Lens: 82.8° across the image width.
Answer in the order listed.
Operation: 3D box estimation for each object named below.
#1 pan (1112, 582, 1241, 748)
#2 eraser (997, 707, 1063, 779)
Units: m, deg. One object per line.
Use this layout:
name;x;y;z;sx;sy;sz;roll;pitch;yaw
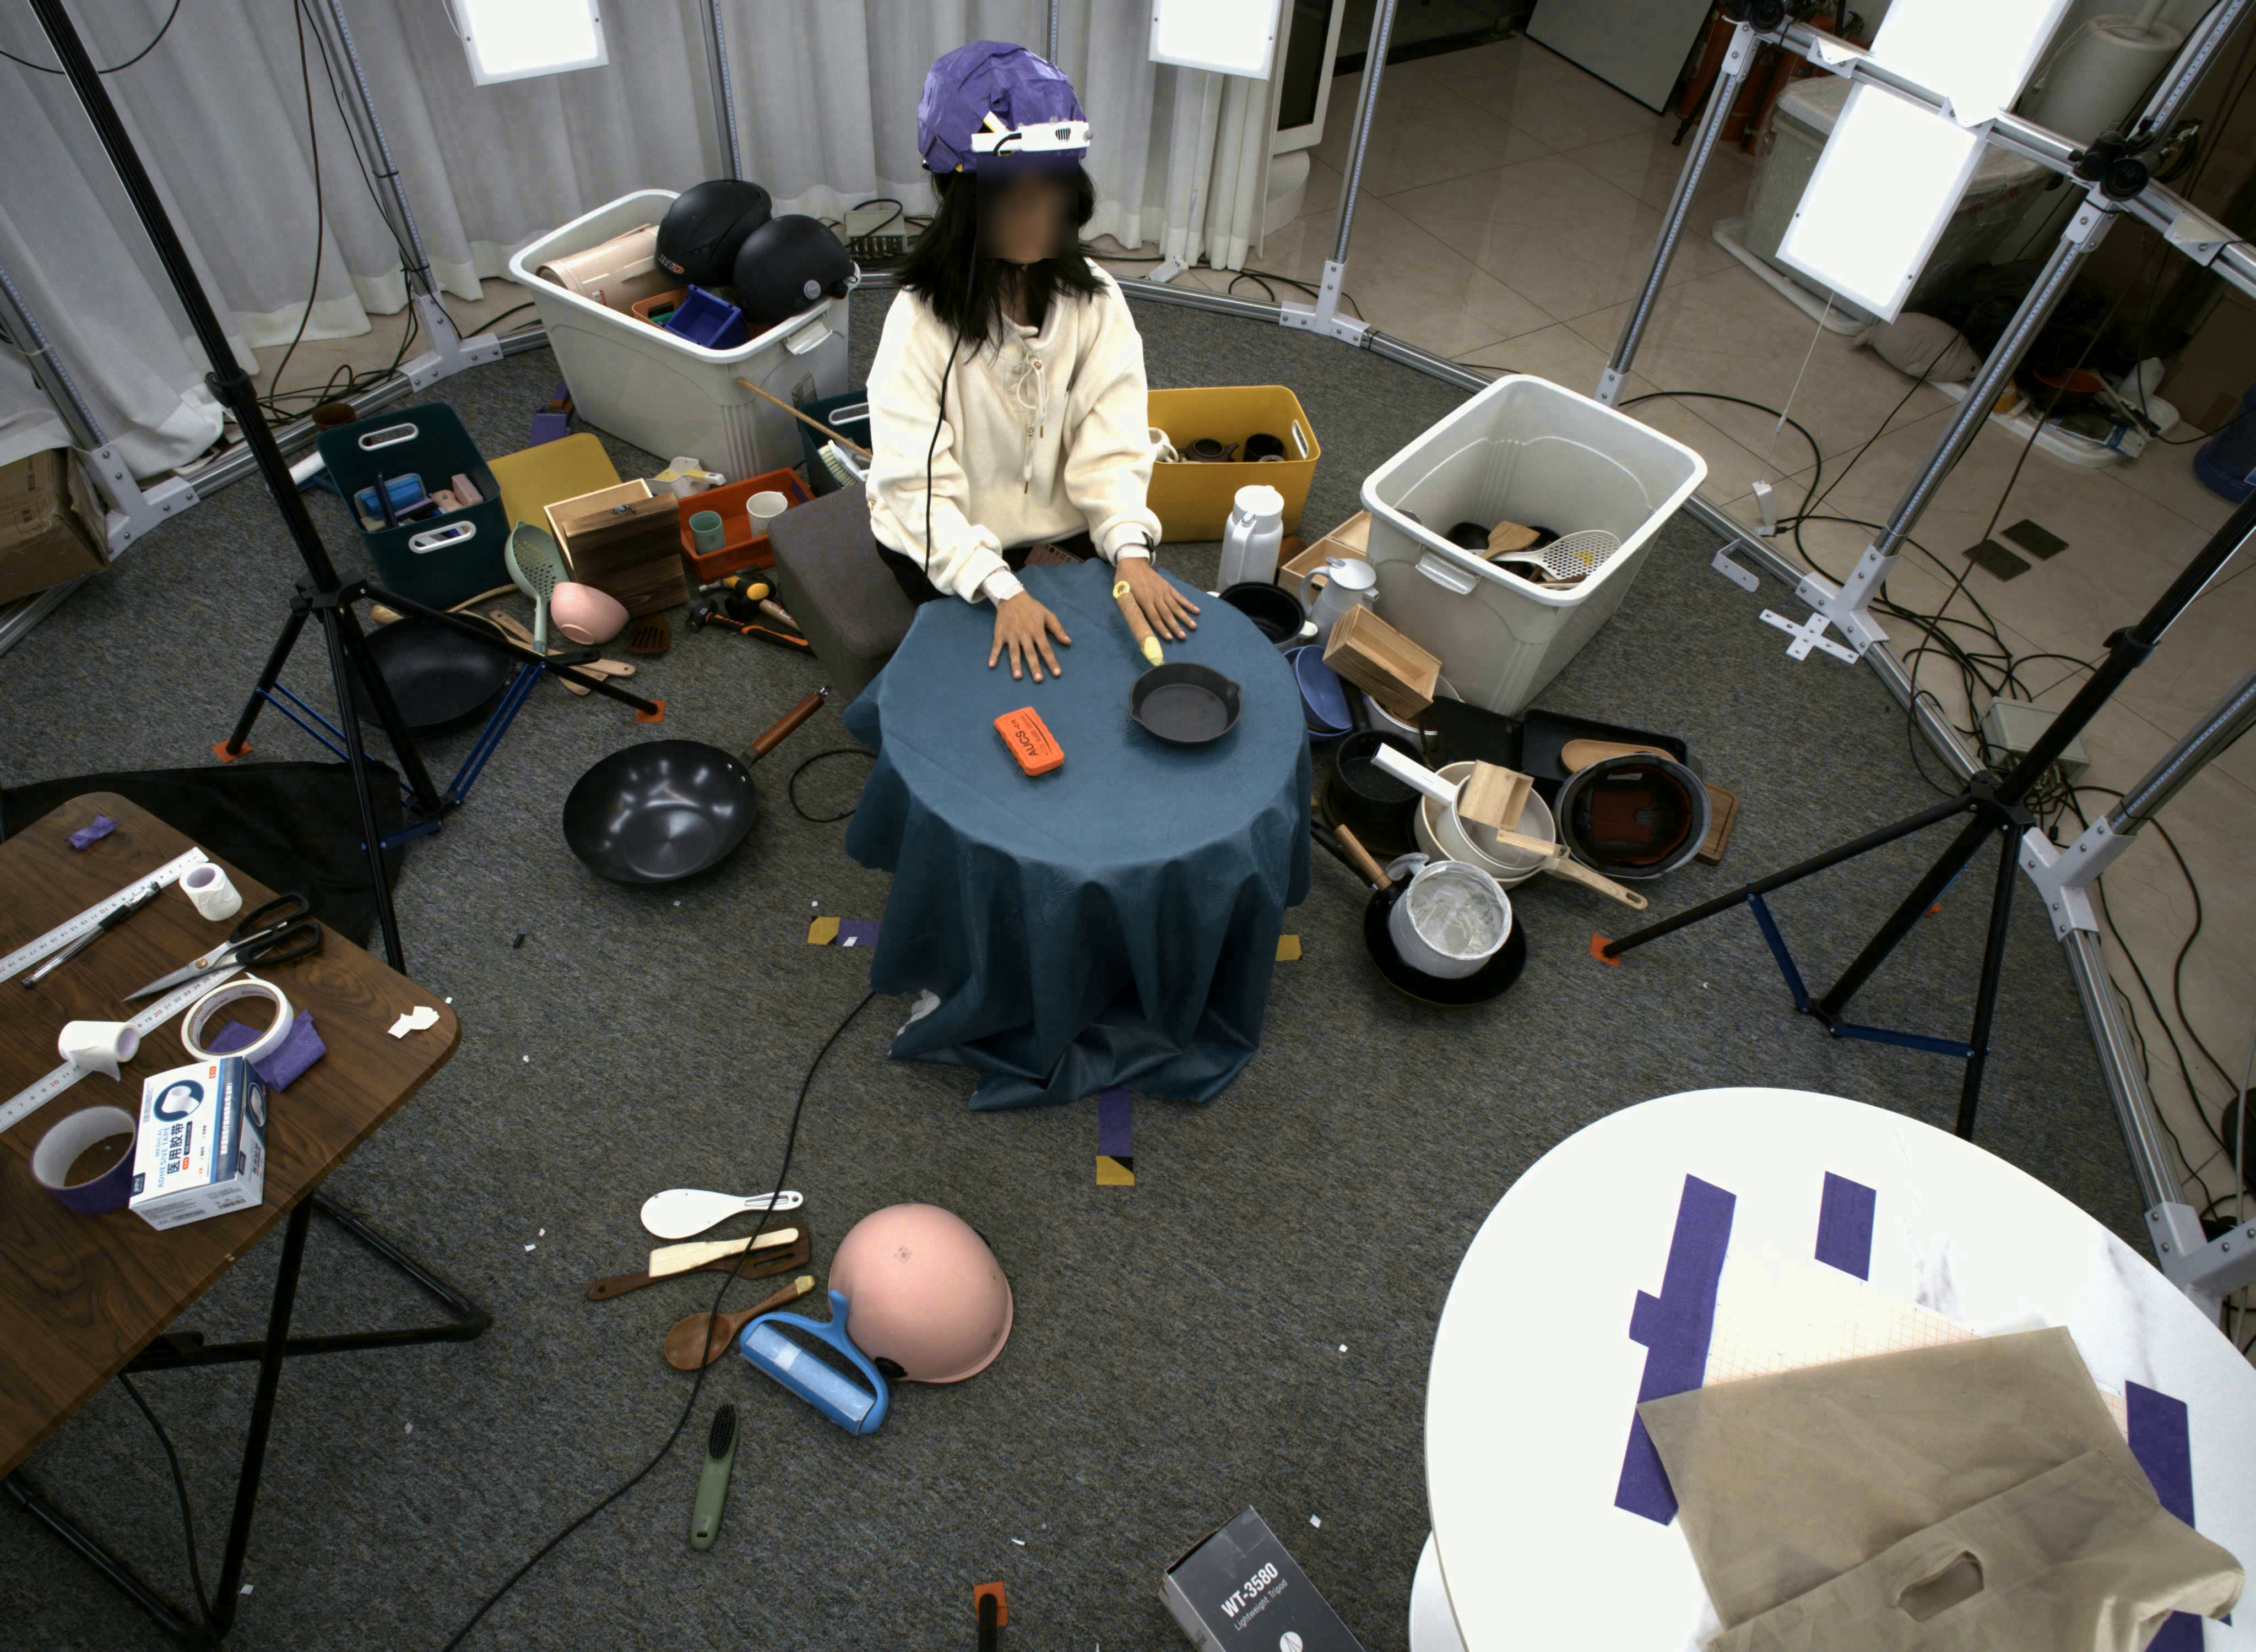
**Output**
pan;0.048;-0.233;1.843;0.169;0.048;0.332;-15;53;-16
eraser;-0.134;-0.114;1.745;0.059;0.022;0.110;-19;53;-19
